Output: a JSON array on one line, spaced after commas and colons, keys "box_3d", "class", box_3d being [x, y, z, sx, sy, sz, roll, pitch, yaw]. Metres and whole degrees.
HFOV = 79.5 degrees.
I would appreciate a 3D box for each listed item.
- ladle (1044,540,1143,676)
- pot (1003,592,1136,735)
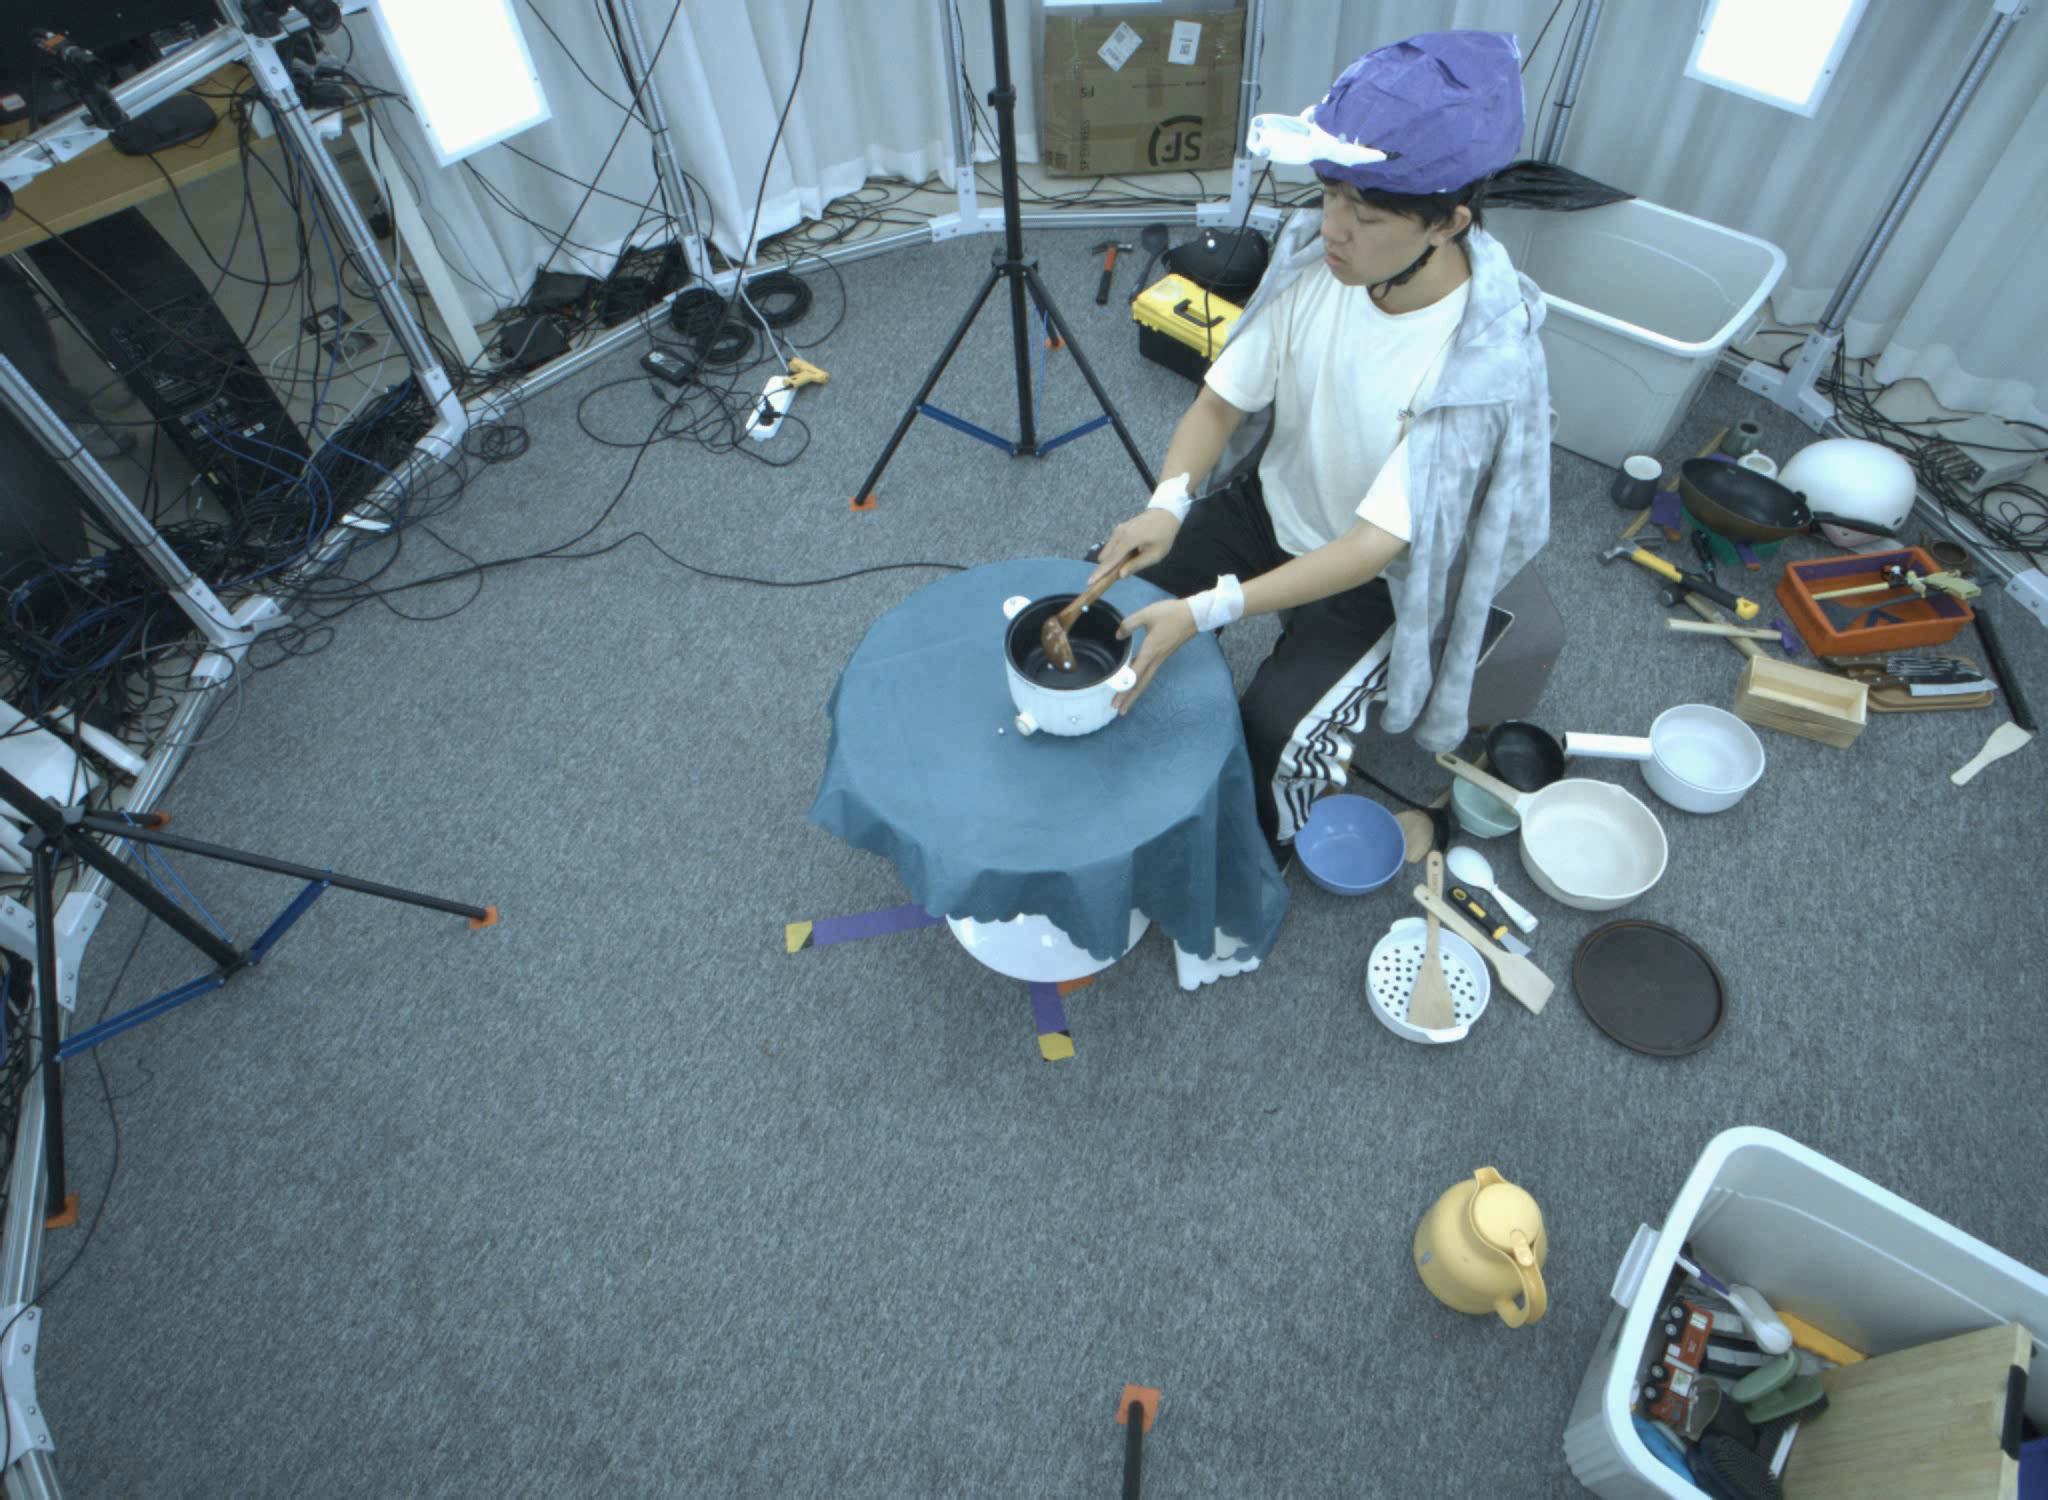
[{"box_3d": [0.114, -0.208, 1.726, 0.075, 0.083, 0.275, 24, 55, 30], "class": "ladle"}, {"box_3d": [0.062, -0.113, 1.782, 0.236, 0.144, 0.192, 36, 60, 26], "class": "pot"}]
